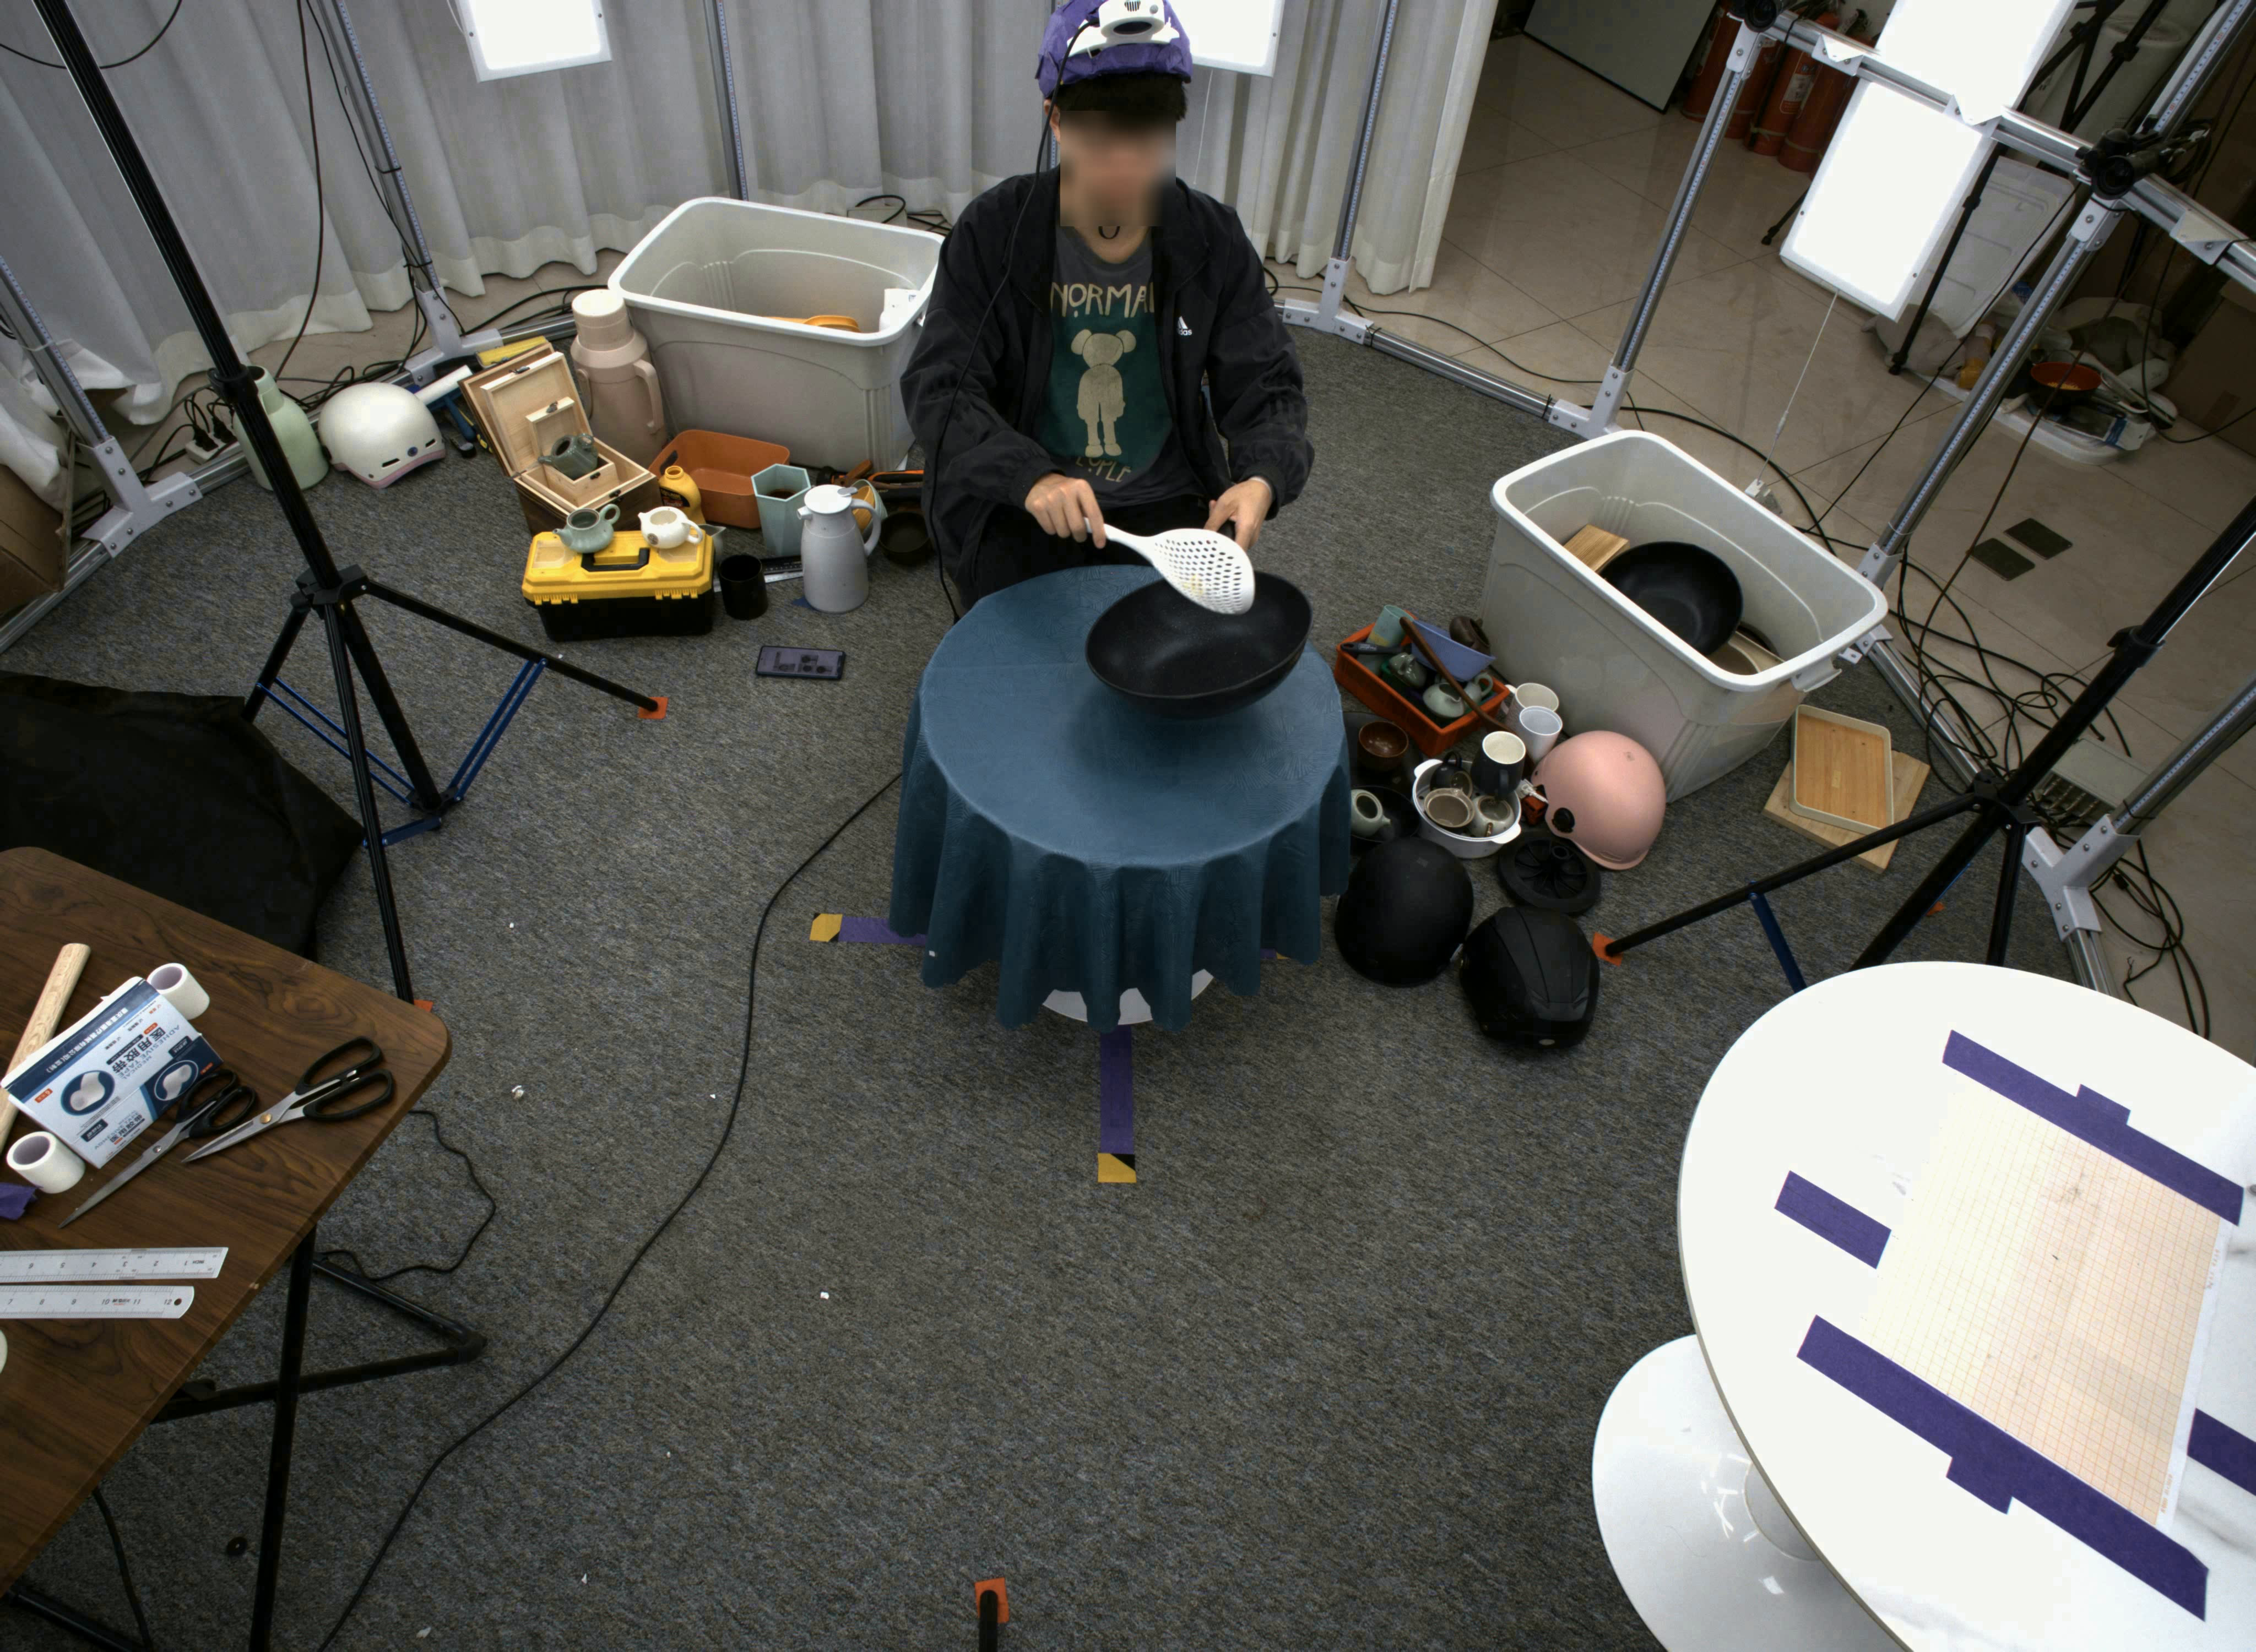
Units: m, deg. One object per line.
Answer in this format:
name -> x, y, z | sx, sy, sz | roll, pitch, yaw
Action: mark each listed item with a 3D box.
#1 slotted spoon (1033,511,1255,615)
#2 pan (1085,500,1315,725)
slotted spoon -> 0.017, -0.377, 1.772 | 0.352, 0.133, 0.051 | 29, 59, 27
pan -> 0.117, -0.291, 1.792 | 0.311, 0.109, 0.487 | 0, 41, 16
